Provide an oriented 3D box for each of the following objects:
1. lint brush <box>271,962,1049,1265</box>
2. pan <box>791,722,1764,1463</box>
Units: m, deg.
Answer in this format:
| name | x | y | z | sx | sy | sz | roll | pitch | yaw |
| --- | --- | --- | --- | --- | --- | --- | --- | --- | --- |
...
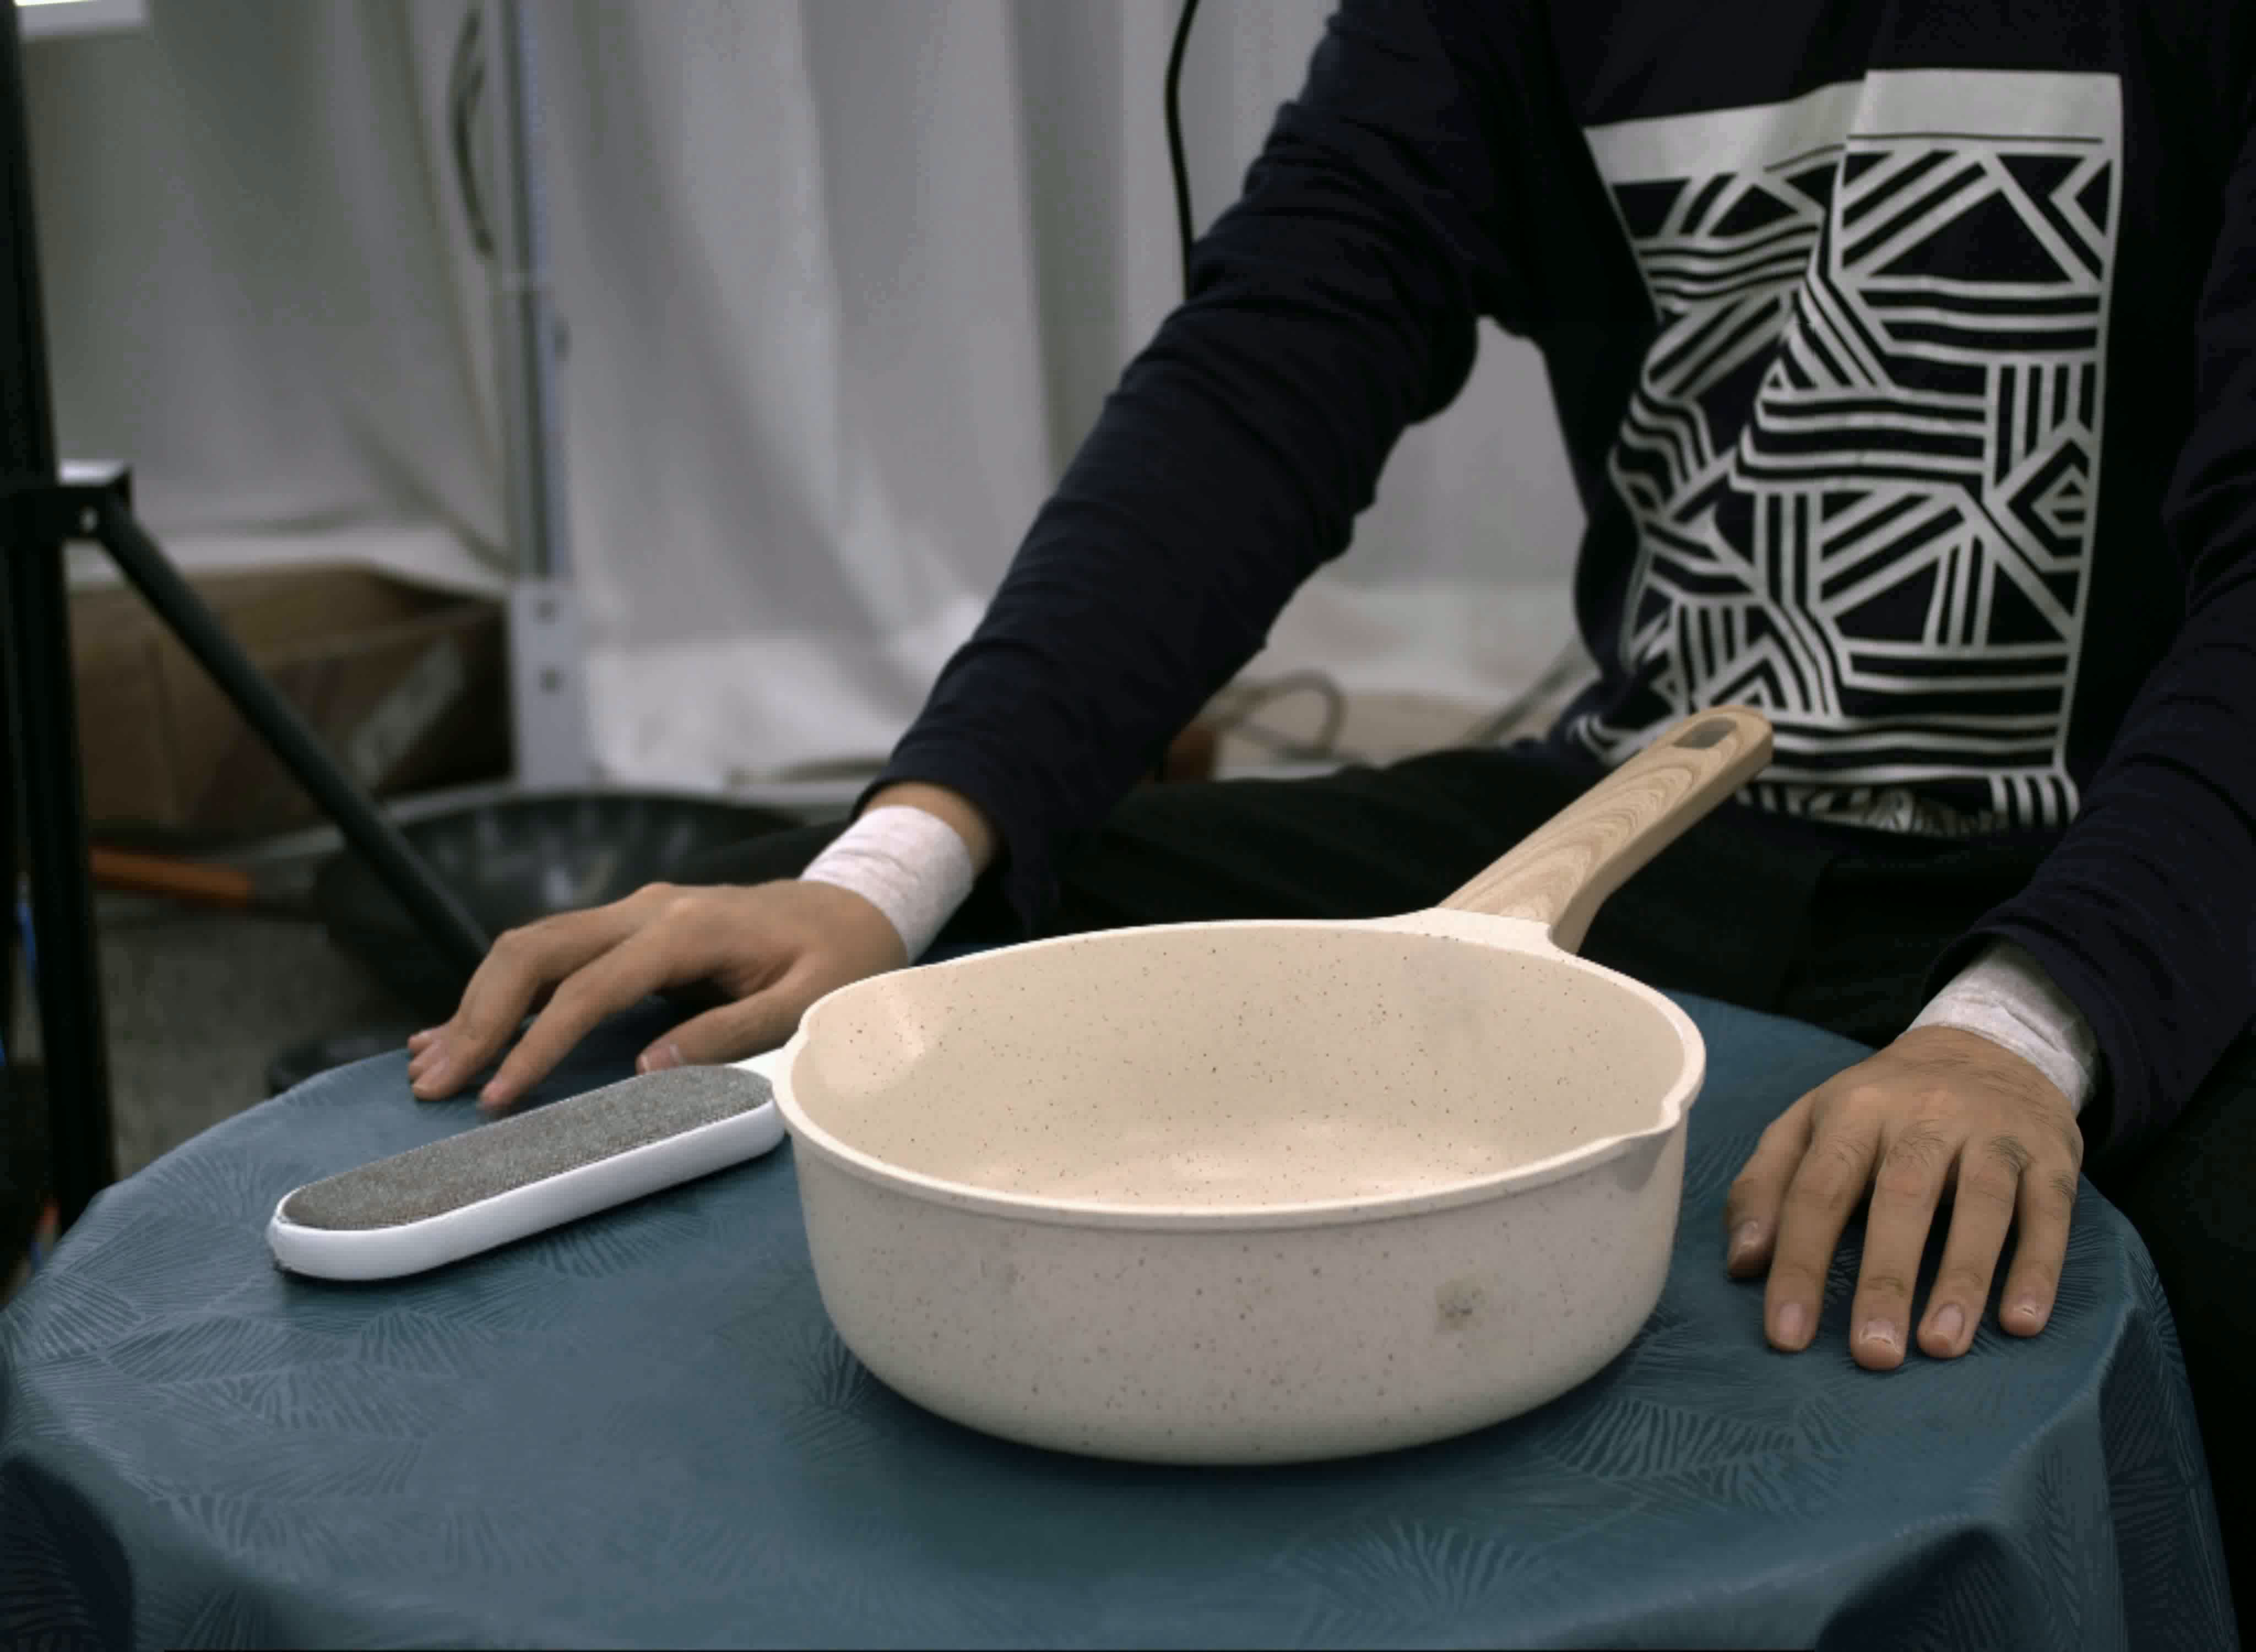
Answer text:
| name | x | y | z | sx | sy | sz | roll | pitch | yaw |
| --- | --- | --- | --- | --- | --- | --- | --- | --- | --- |
| lint brush | -0.130 | 0.085 | 1.614 | 0.302 | 0.021 | 0.061 | -17 | 17 | -42 |
| pan | 0.083 | 0.070 | 1.503 | 0.268 | 0.102 | 0.426 | 5 | 17 | 32 |
